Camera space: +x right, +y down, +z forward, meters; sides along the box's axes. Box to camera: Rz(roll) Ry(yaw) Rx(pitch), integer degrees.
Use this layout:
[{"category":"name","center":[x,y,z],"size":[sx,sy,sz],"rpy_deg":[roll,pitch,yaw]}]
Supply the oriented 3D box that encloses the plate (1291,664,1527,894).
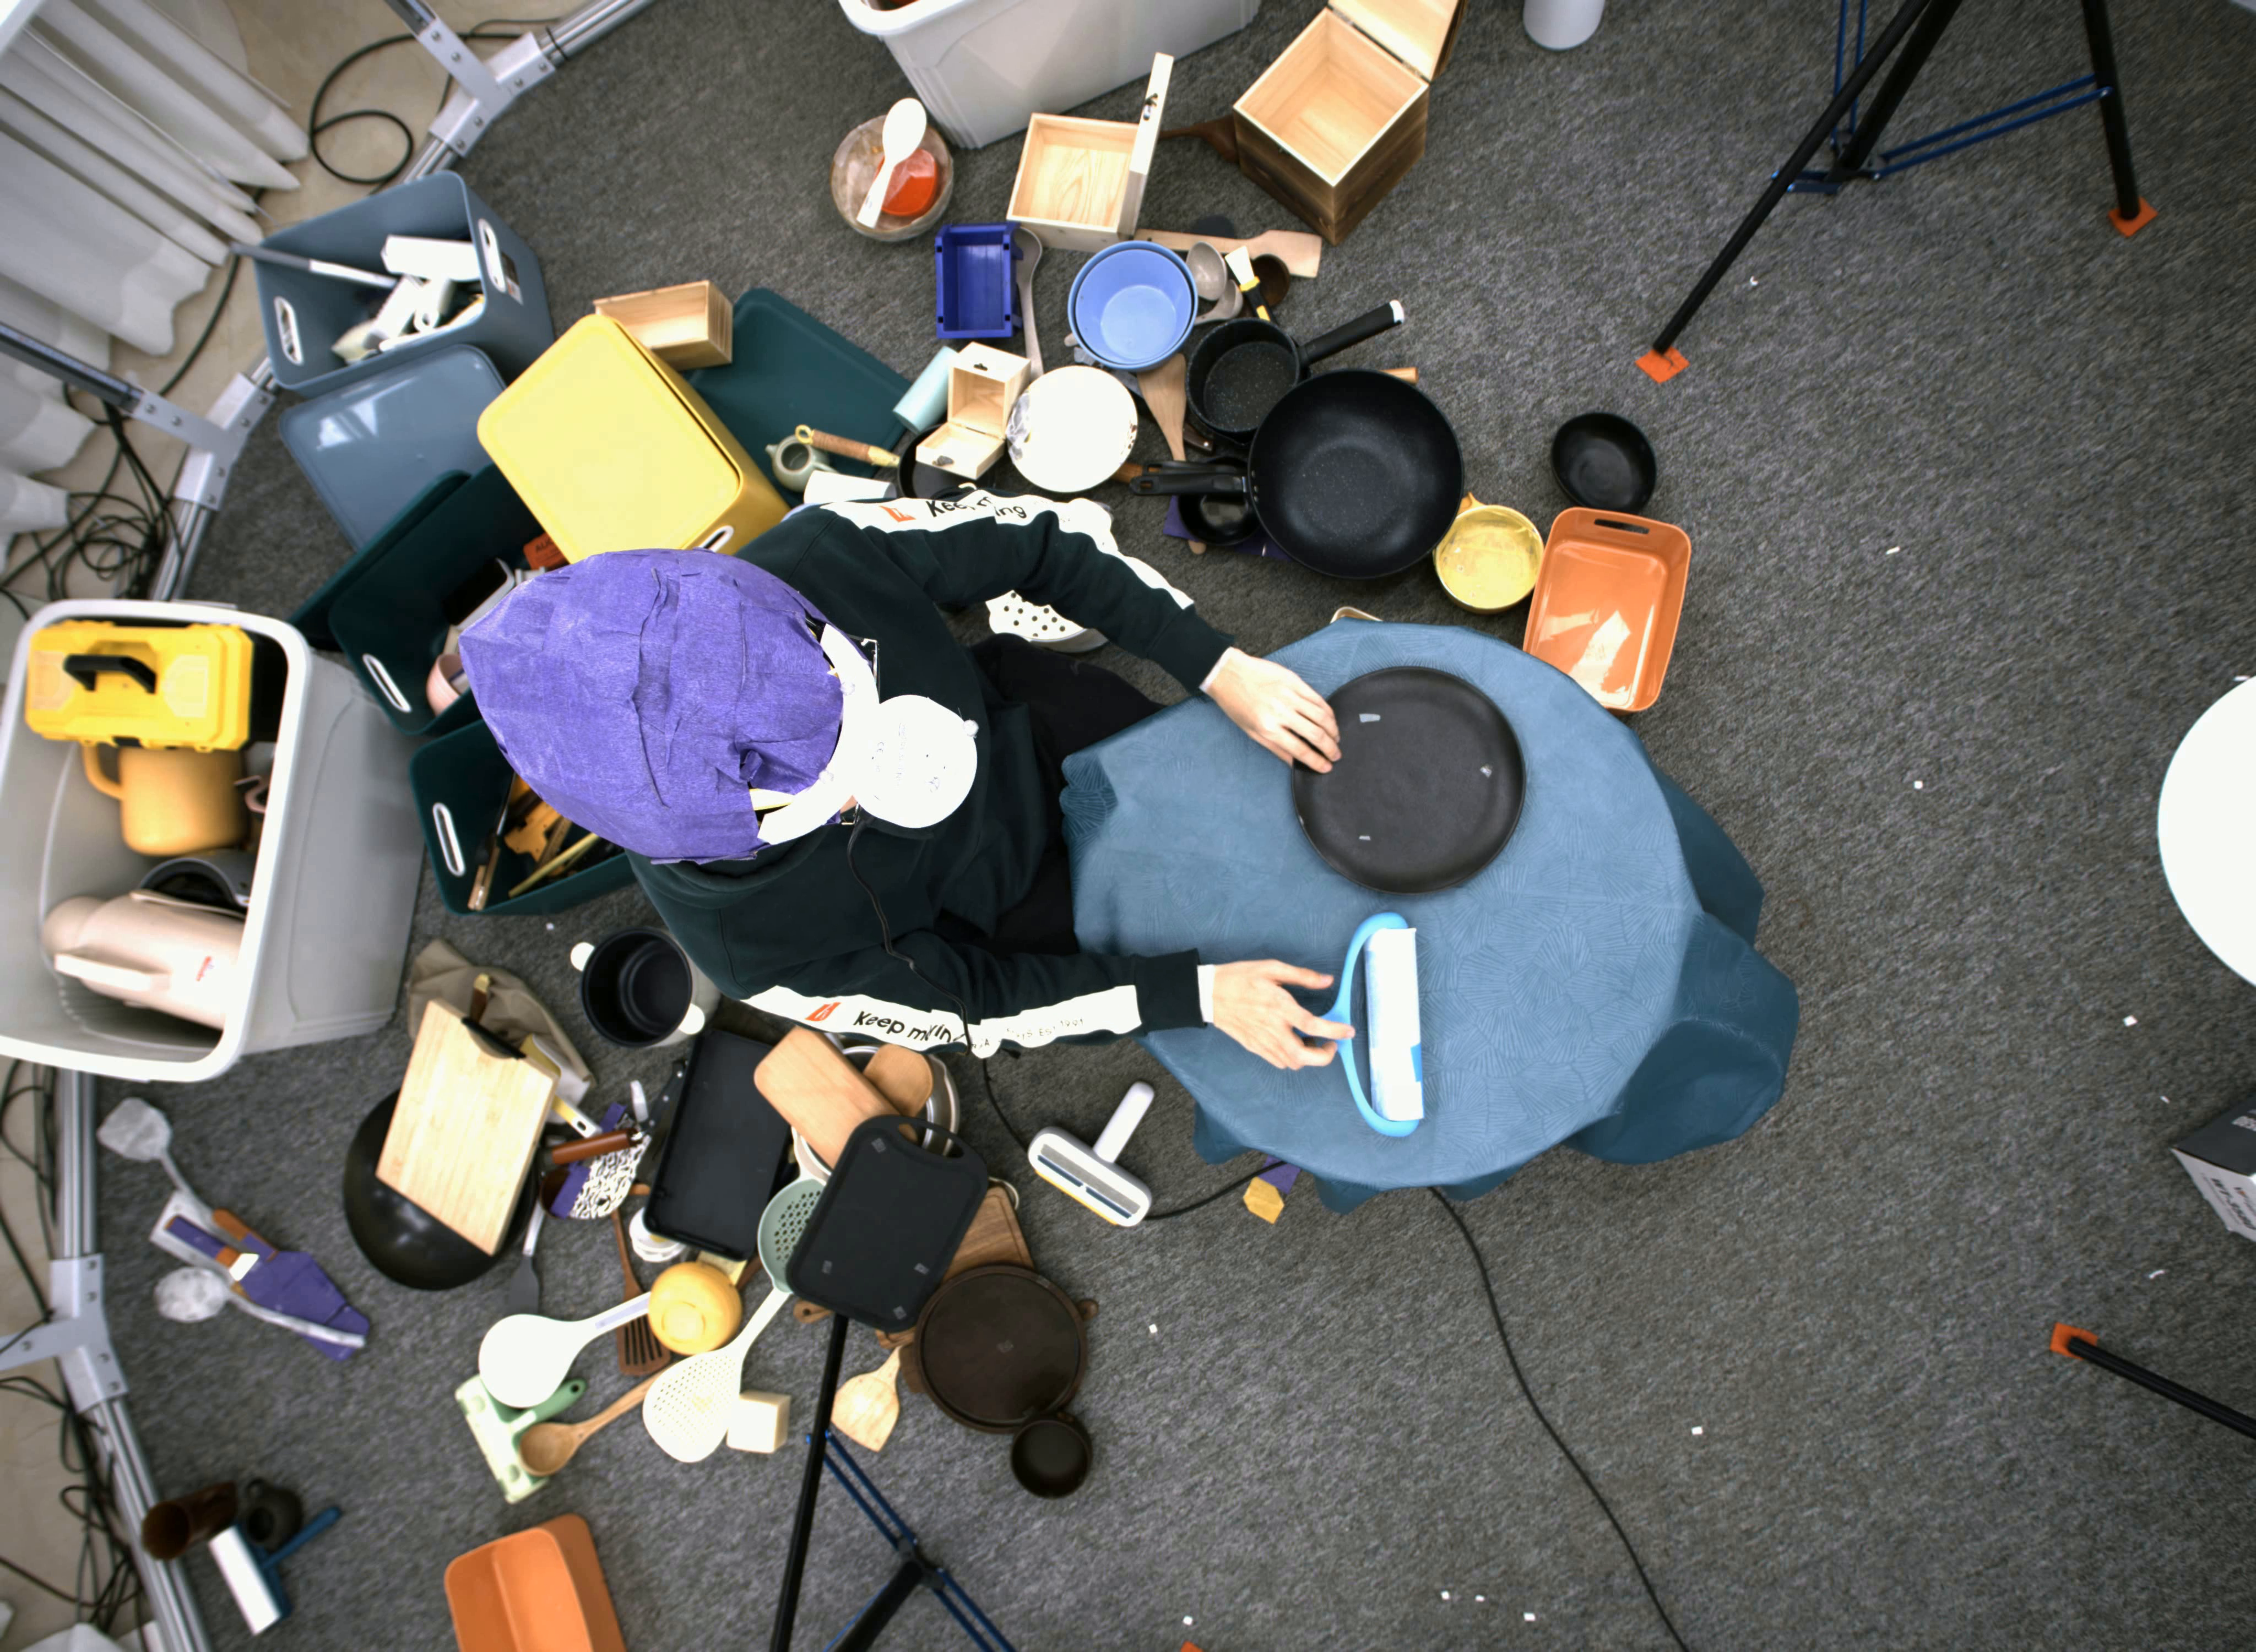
[{"category":"plate","center":[0.294,-0.050,1.446],"size":[0.245,0.023,0.243],"rpy_deg":[-1,87,11]}]

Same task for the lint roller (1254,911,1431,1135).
[{"category":"lint roller","center":[0.218,0.207,1.430],"size":[0.181,0.068,0.228],"rpy_deg":[-7,86,11]}]
